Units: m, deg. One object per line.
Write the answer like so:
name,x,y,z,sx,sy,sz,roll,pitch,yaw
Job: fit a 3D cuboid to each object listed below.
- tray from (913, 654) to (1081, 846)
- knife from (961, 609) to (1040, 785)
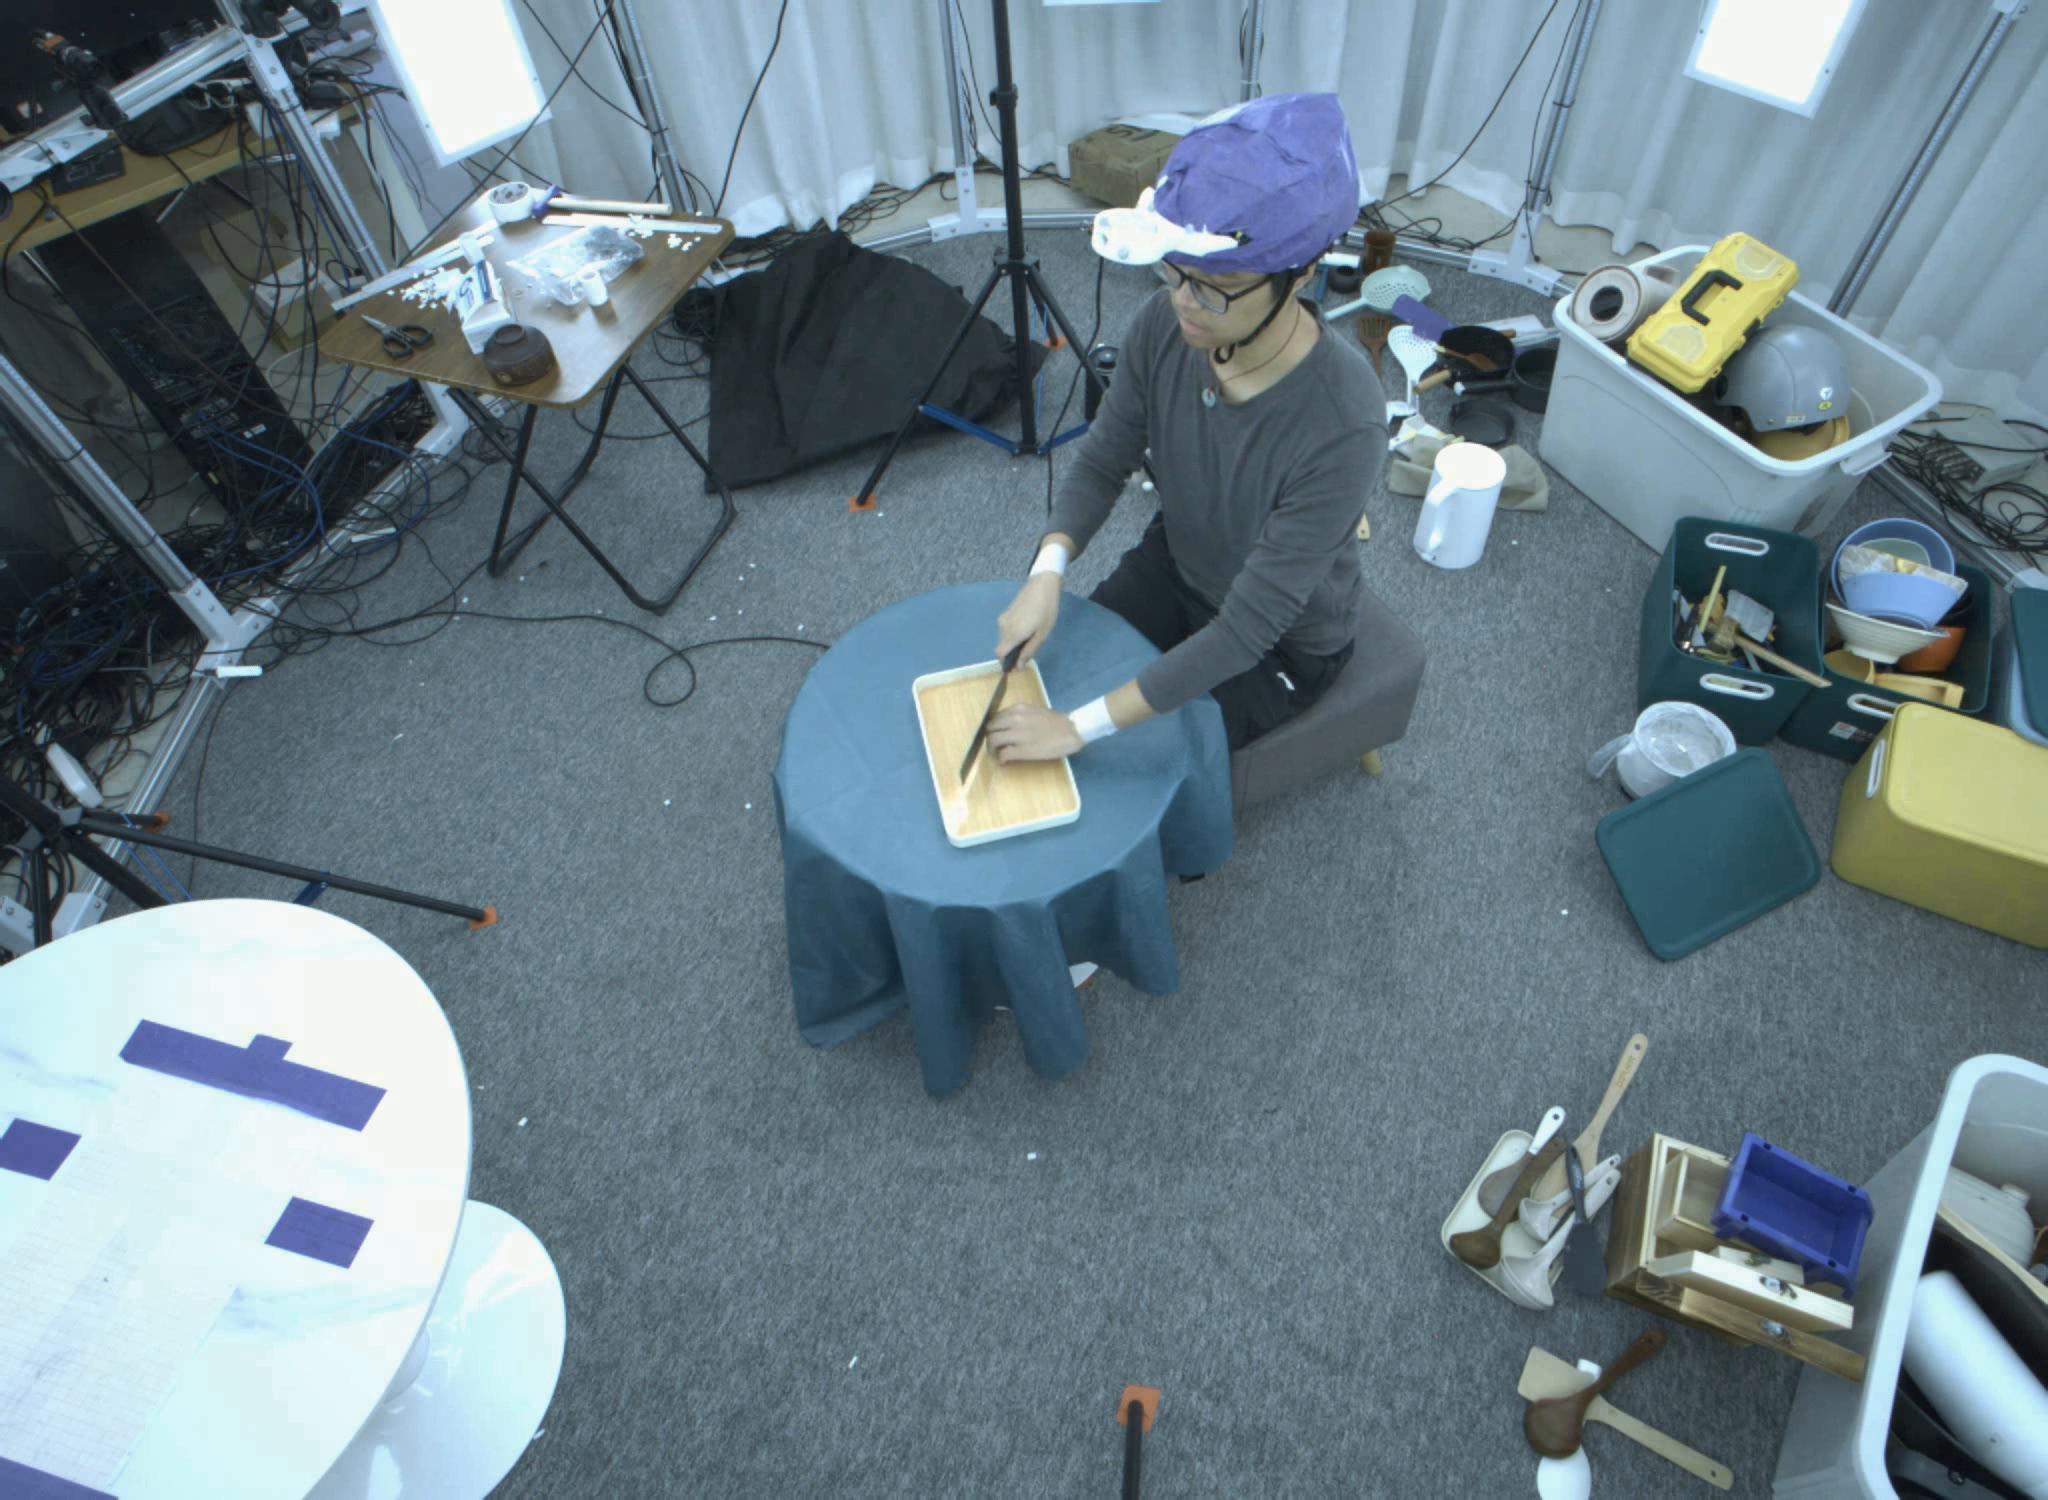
tray,-0.044,-0.006,1.783,0.192,0.028,0.295,-12,55,-7
knife,-0.036,-0.084,1.782,0.021,0.081,0.302,18,64,8
